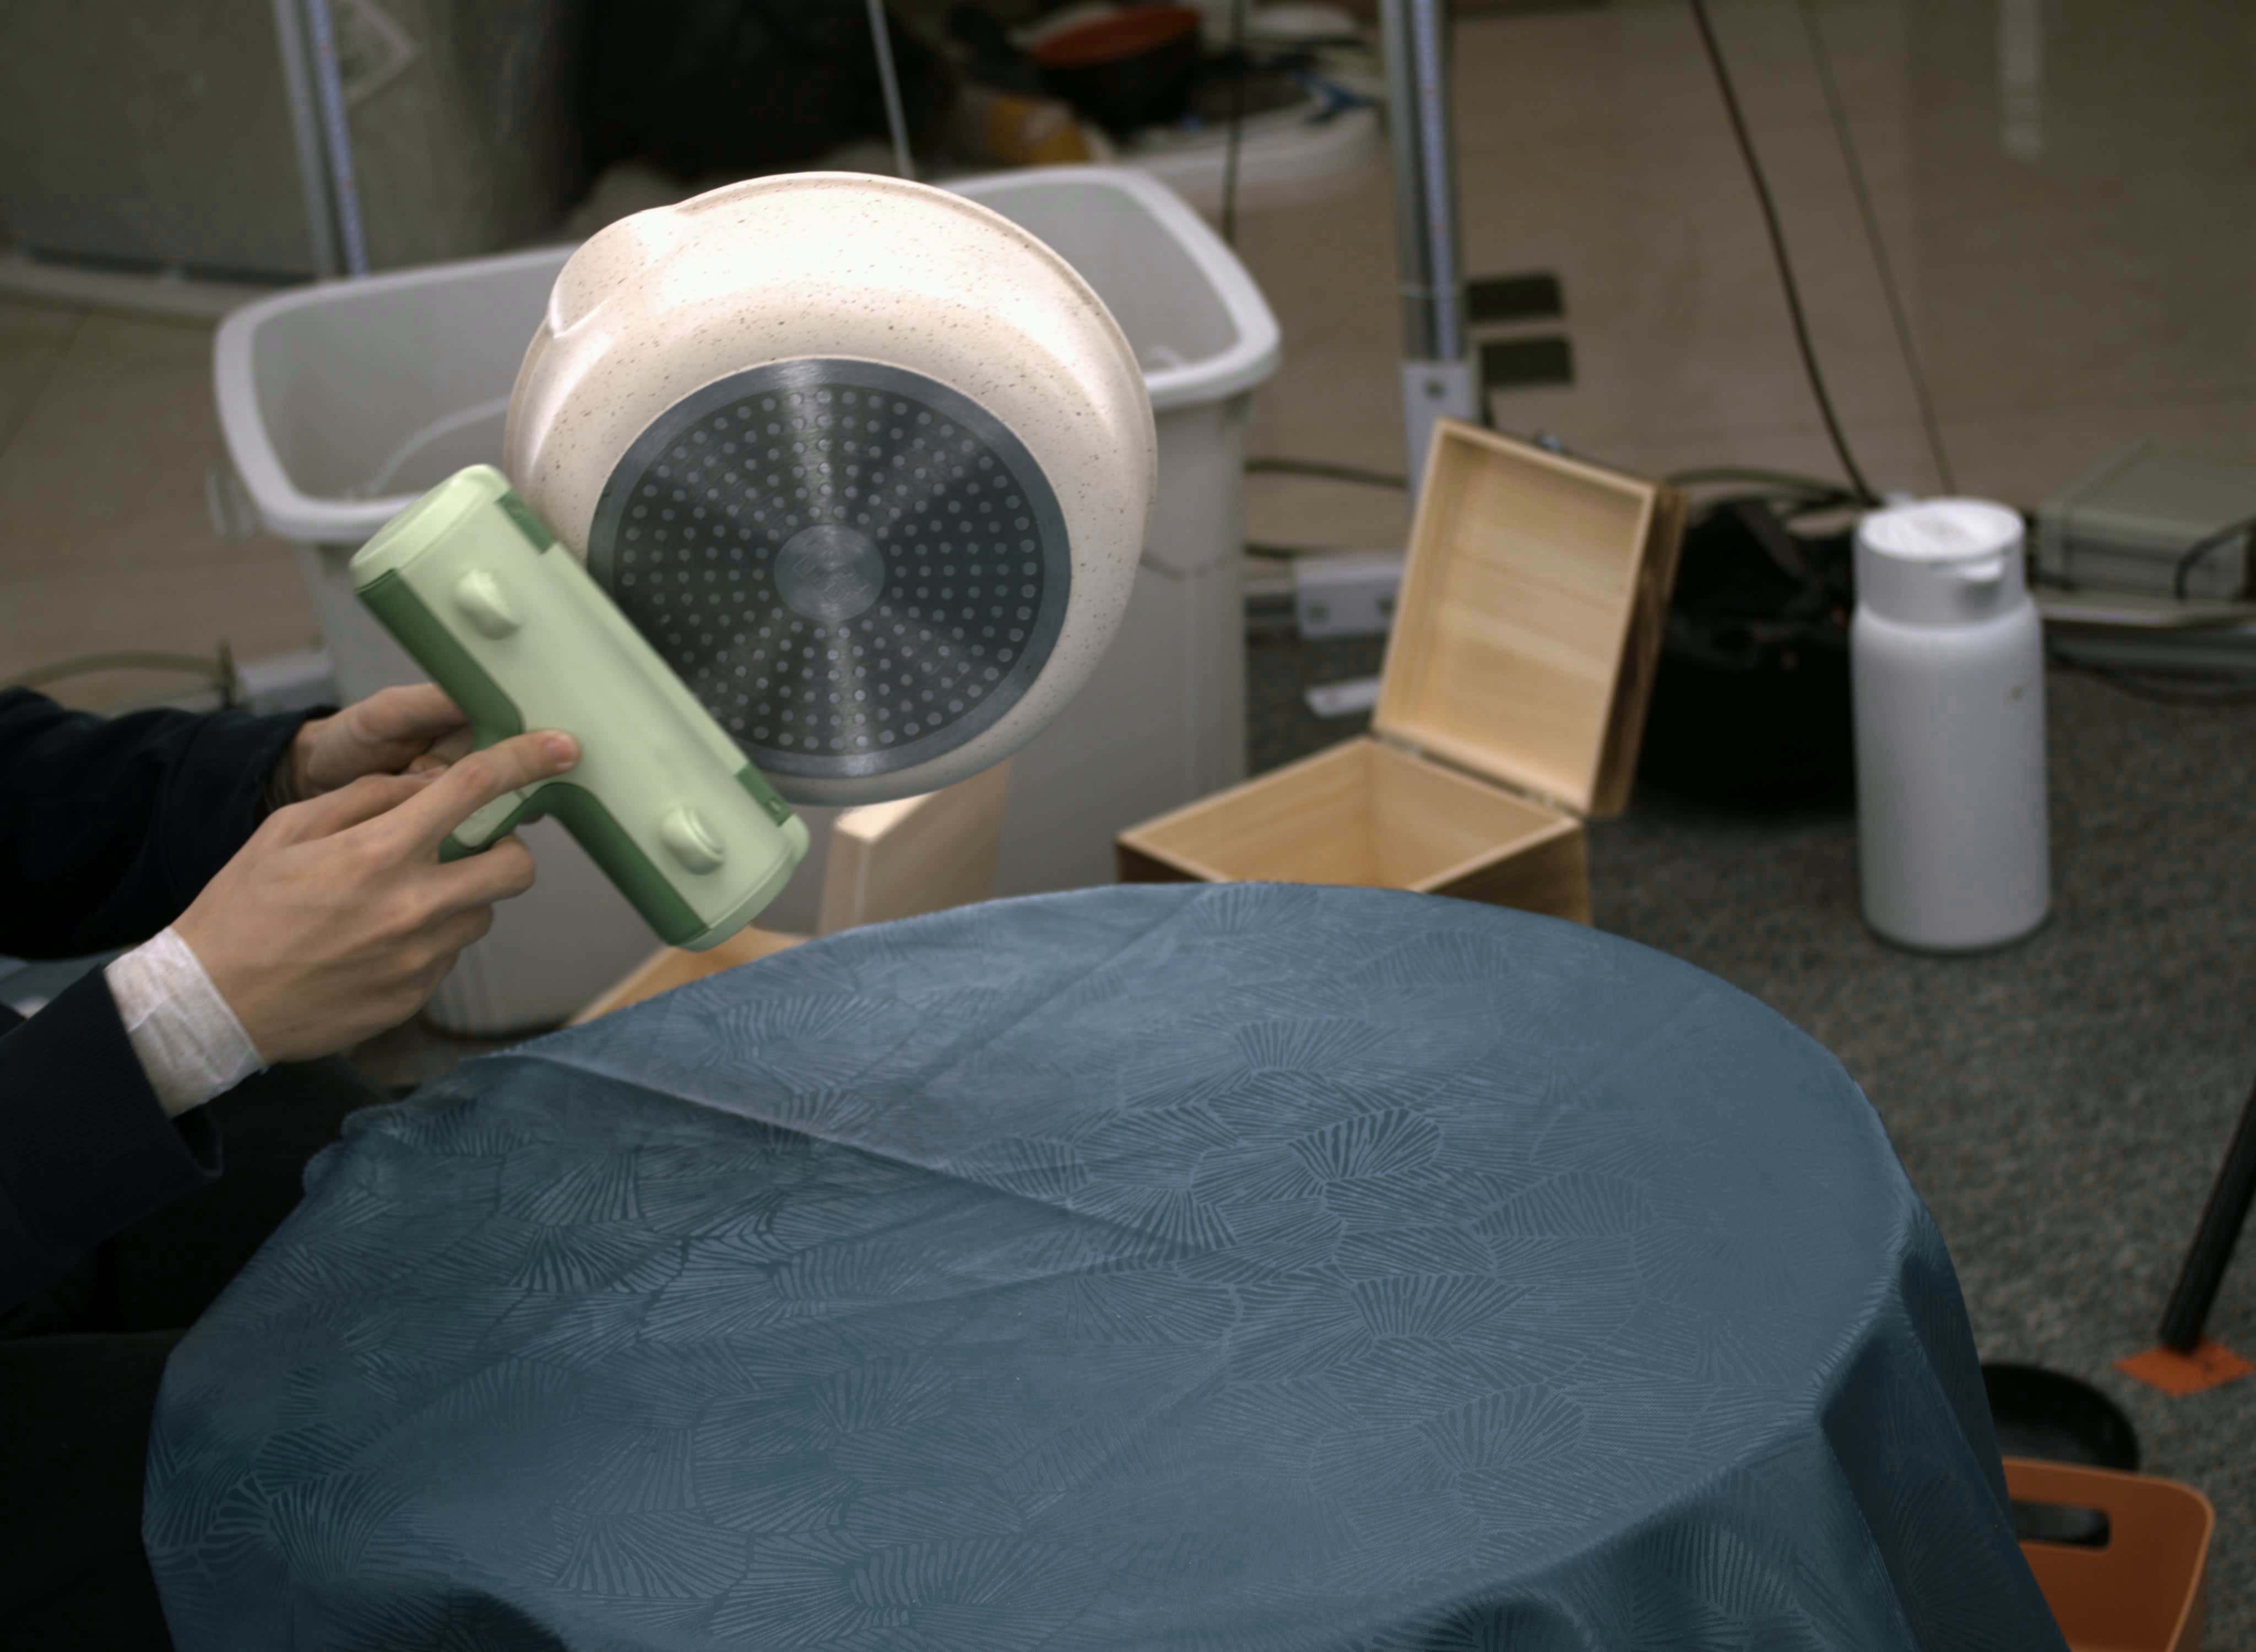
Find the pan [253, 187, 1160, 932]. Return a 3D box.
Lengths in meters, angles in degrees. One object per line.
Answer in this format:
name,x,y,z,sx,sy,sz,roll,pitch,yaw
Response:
pan,-0.180,-0.063,2.170,0.438,0.266,0.100,-37,30,21

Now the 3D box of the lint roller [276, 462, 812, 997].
lint roller,-0.233,-0.004,2.059,0.182,0.200,0.082,-46,19,-20
